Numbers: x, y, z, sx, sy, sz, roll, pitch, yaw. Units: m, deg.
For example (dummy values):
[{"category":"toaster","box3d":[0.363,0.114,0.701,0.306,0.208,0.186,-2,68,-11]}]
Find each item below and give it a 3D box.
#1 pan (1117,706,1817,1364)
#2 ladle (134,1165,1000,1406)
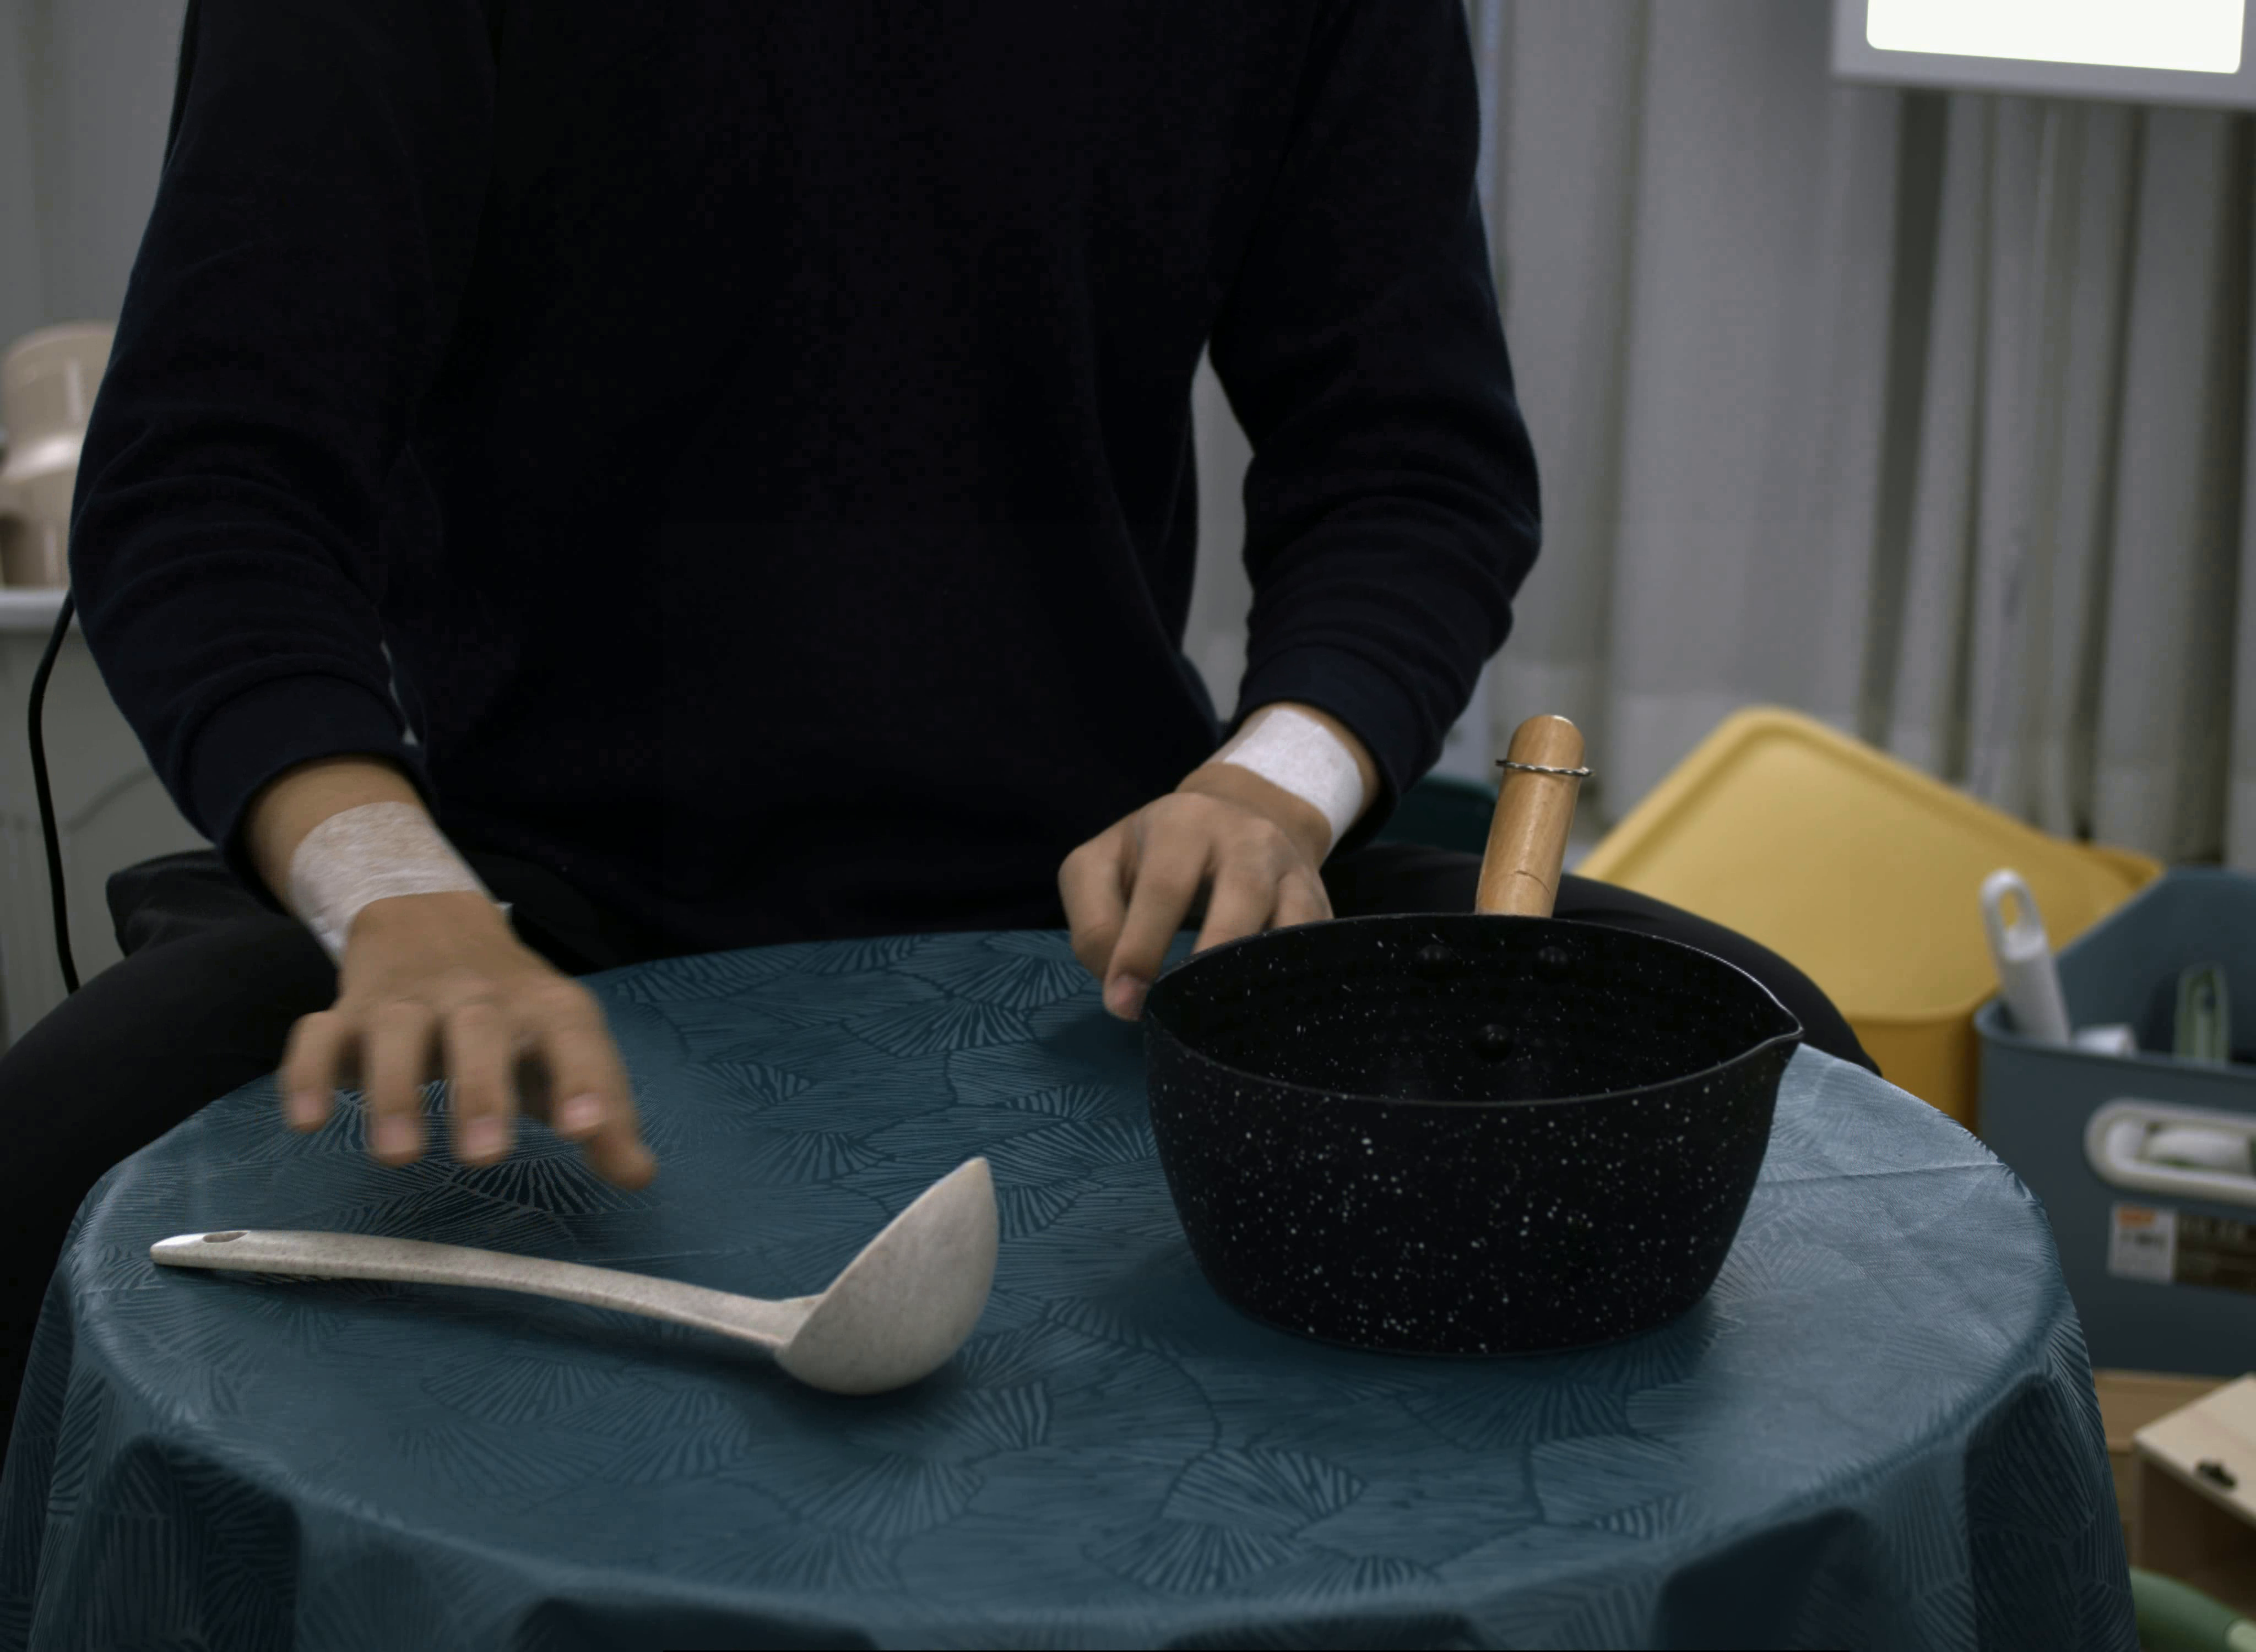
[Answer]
[{"category":"pan","box3d":[0.110,0.059,1.616,0.206,0.109,0.342,2,17,9]},{"category":"ladle","box3d":[-0.166,0.110,1.491,0.272,0.070,0.089,9,26,20]}]
